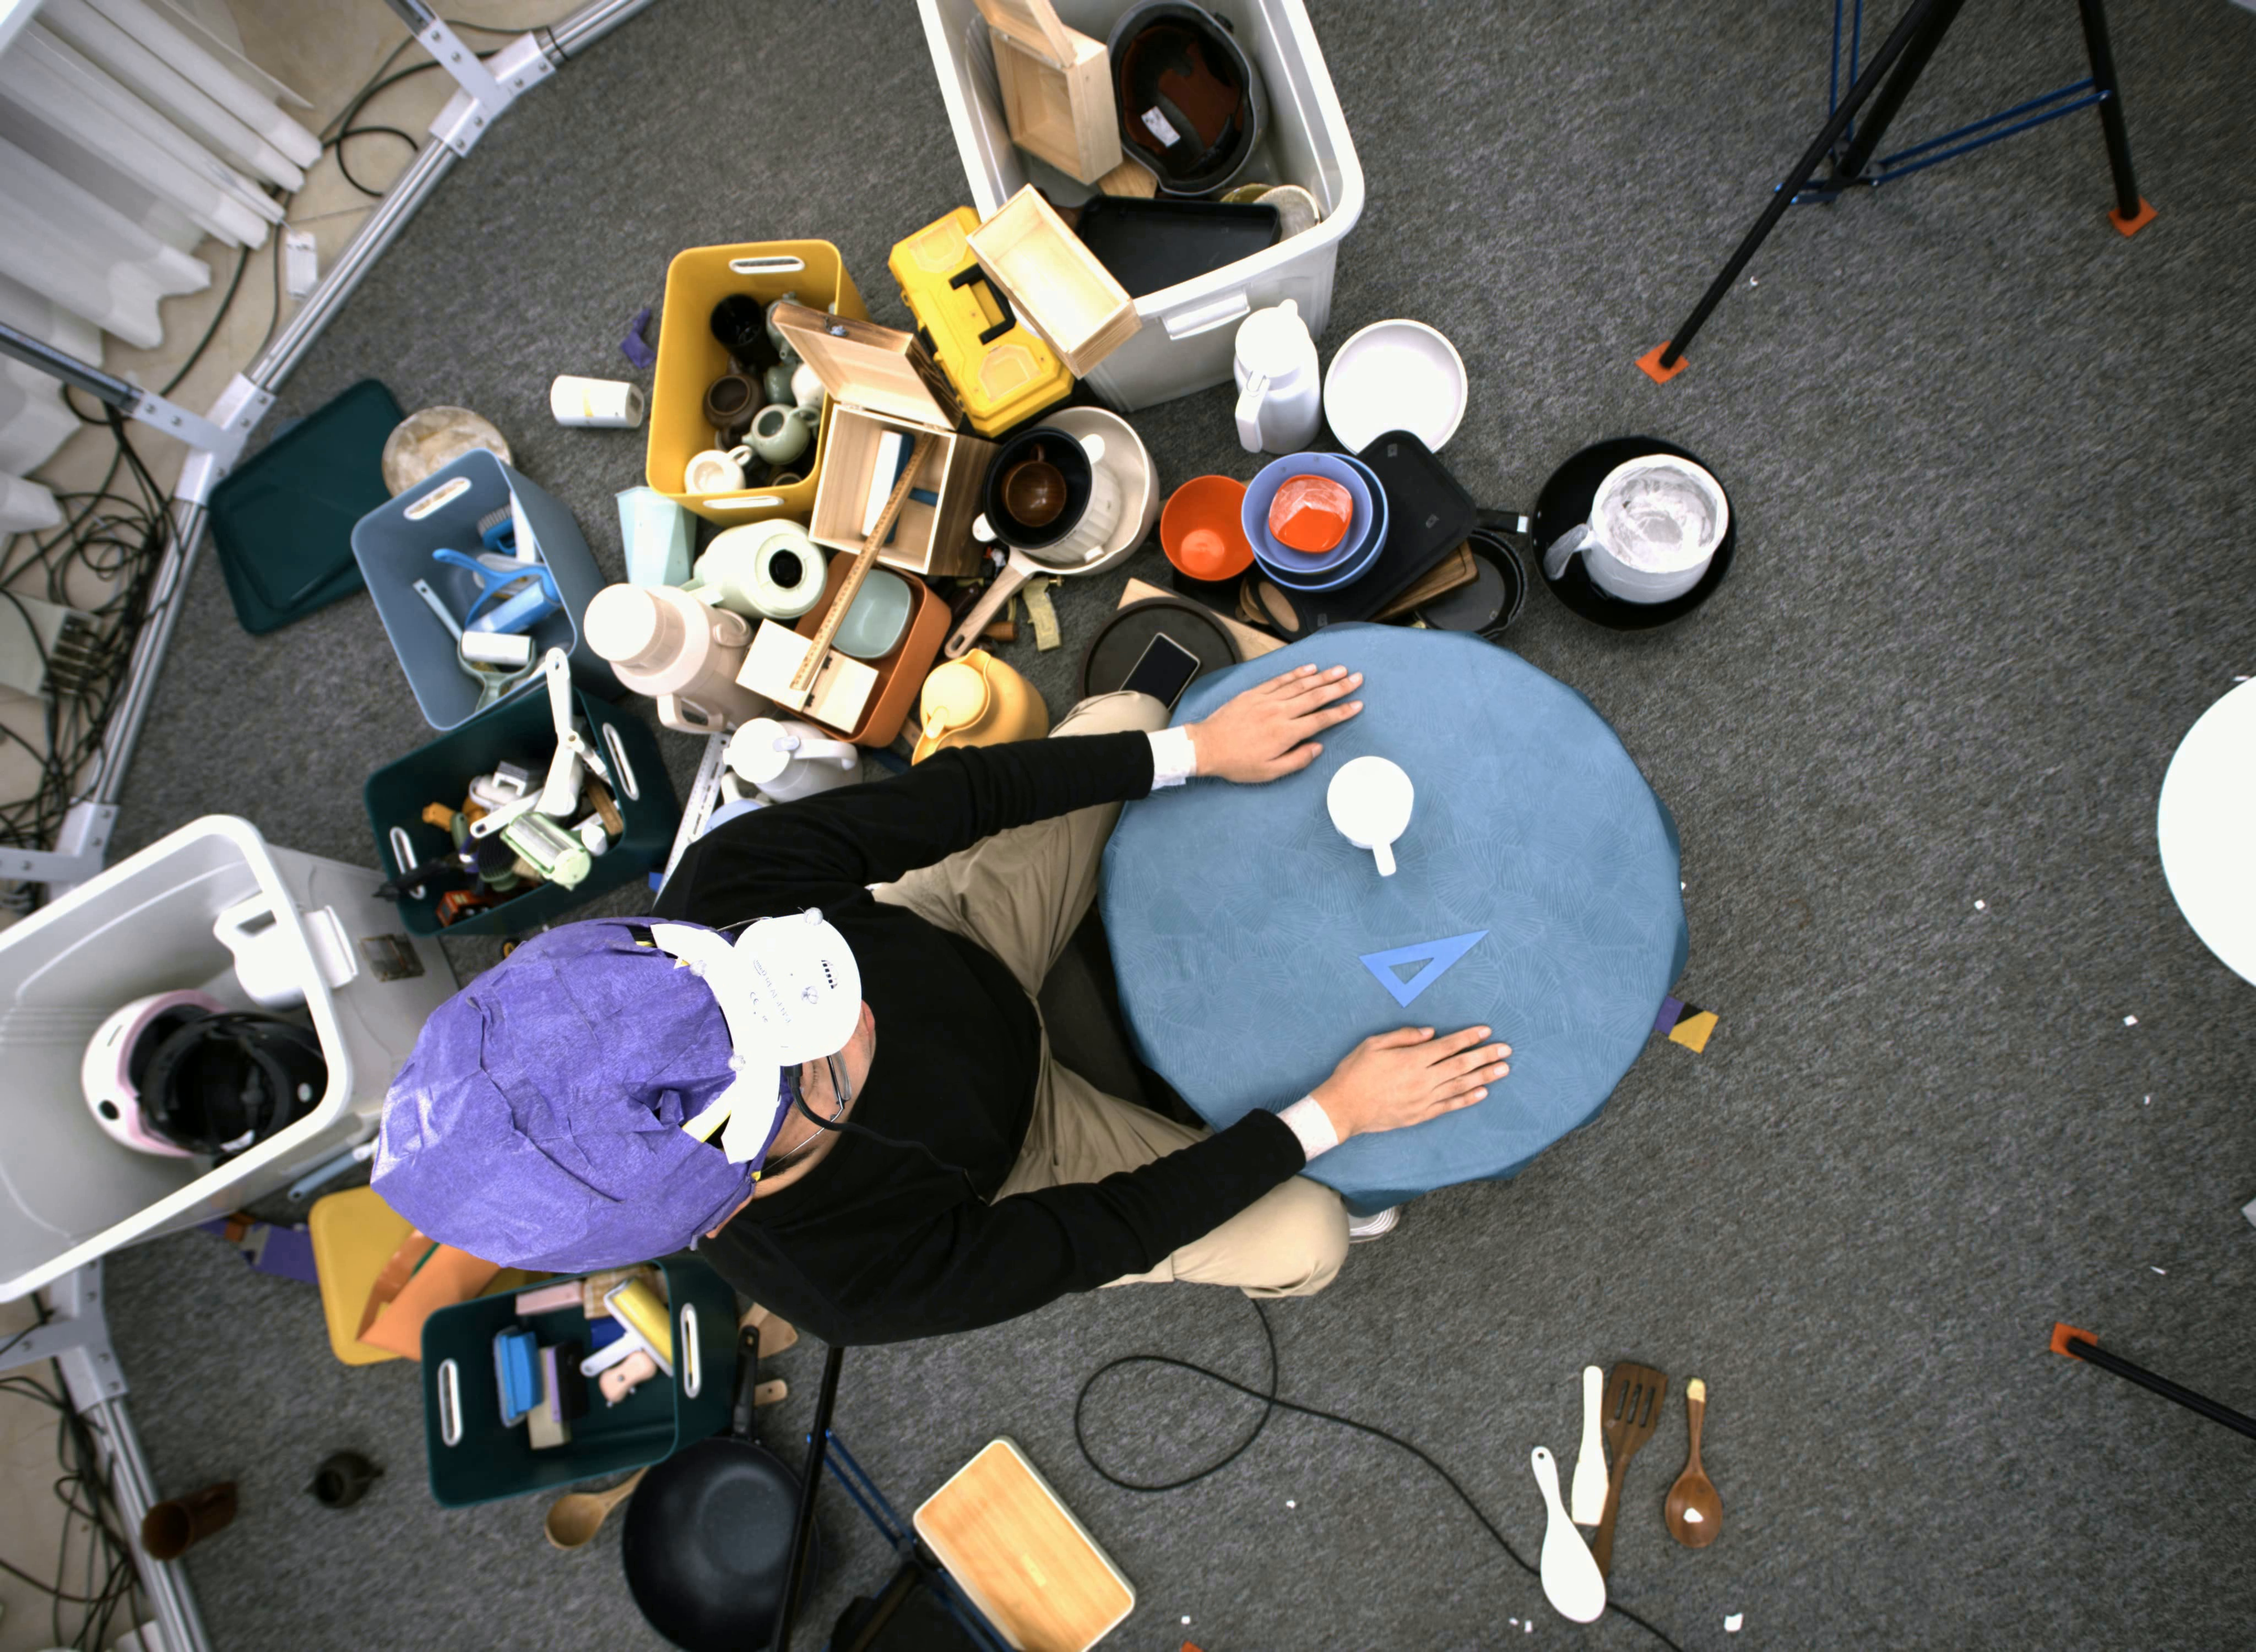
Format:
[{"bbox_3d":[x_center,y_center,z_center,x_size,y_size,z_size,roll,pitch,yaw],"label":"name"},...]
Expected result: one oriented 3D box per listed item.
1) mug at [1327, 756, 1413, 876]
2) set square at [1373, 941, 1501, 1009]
[{"bbox_3d":[0.252,-0.008,1.416,0.085,0.102,0.117,-14,83,8],"label":"mug"},{"bbox_3d":[0.326,0.155,1.443,0.132,0.006,0.060,-9,83,10],"label":"set square"}]
